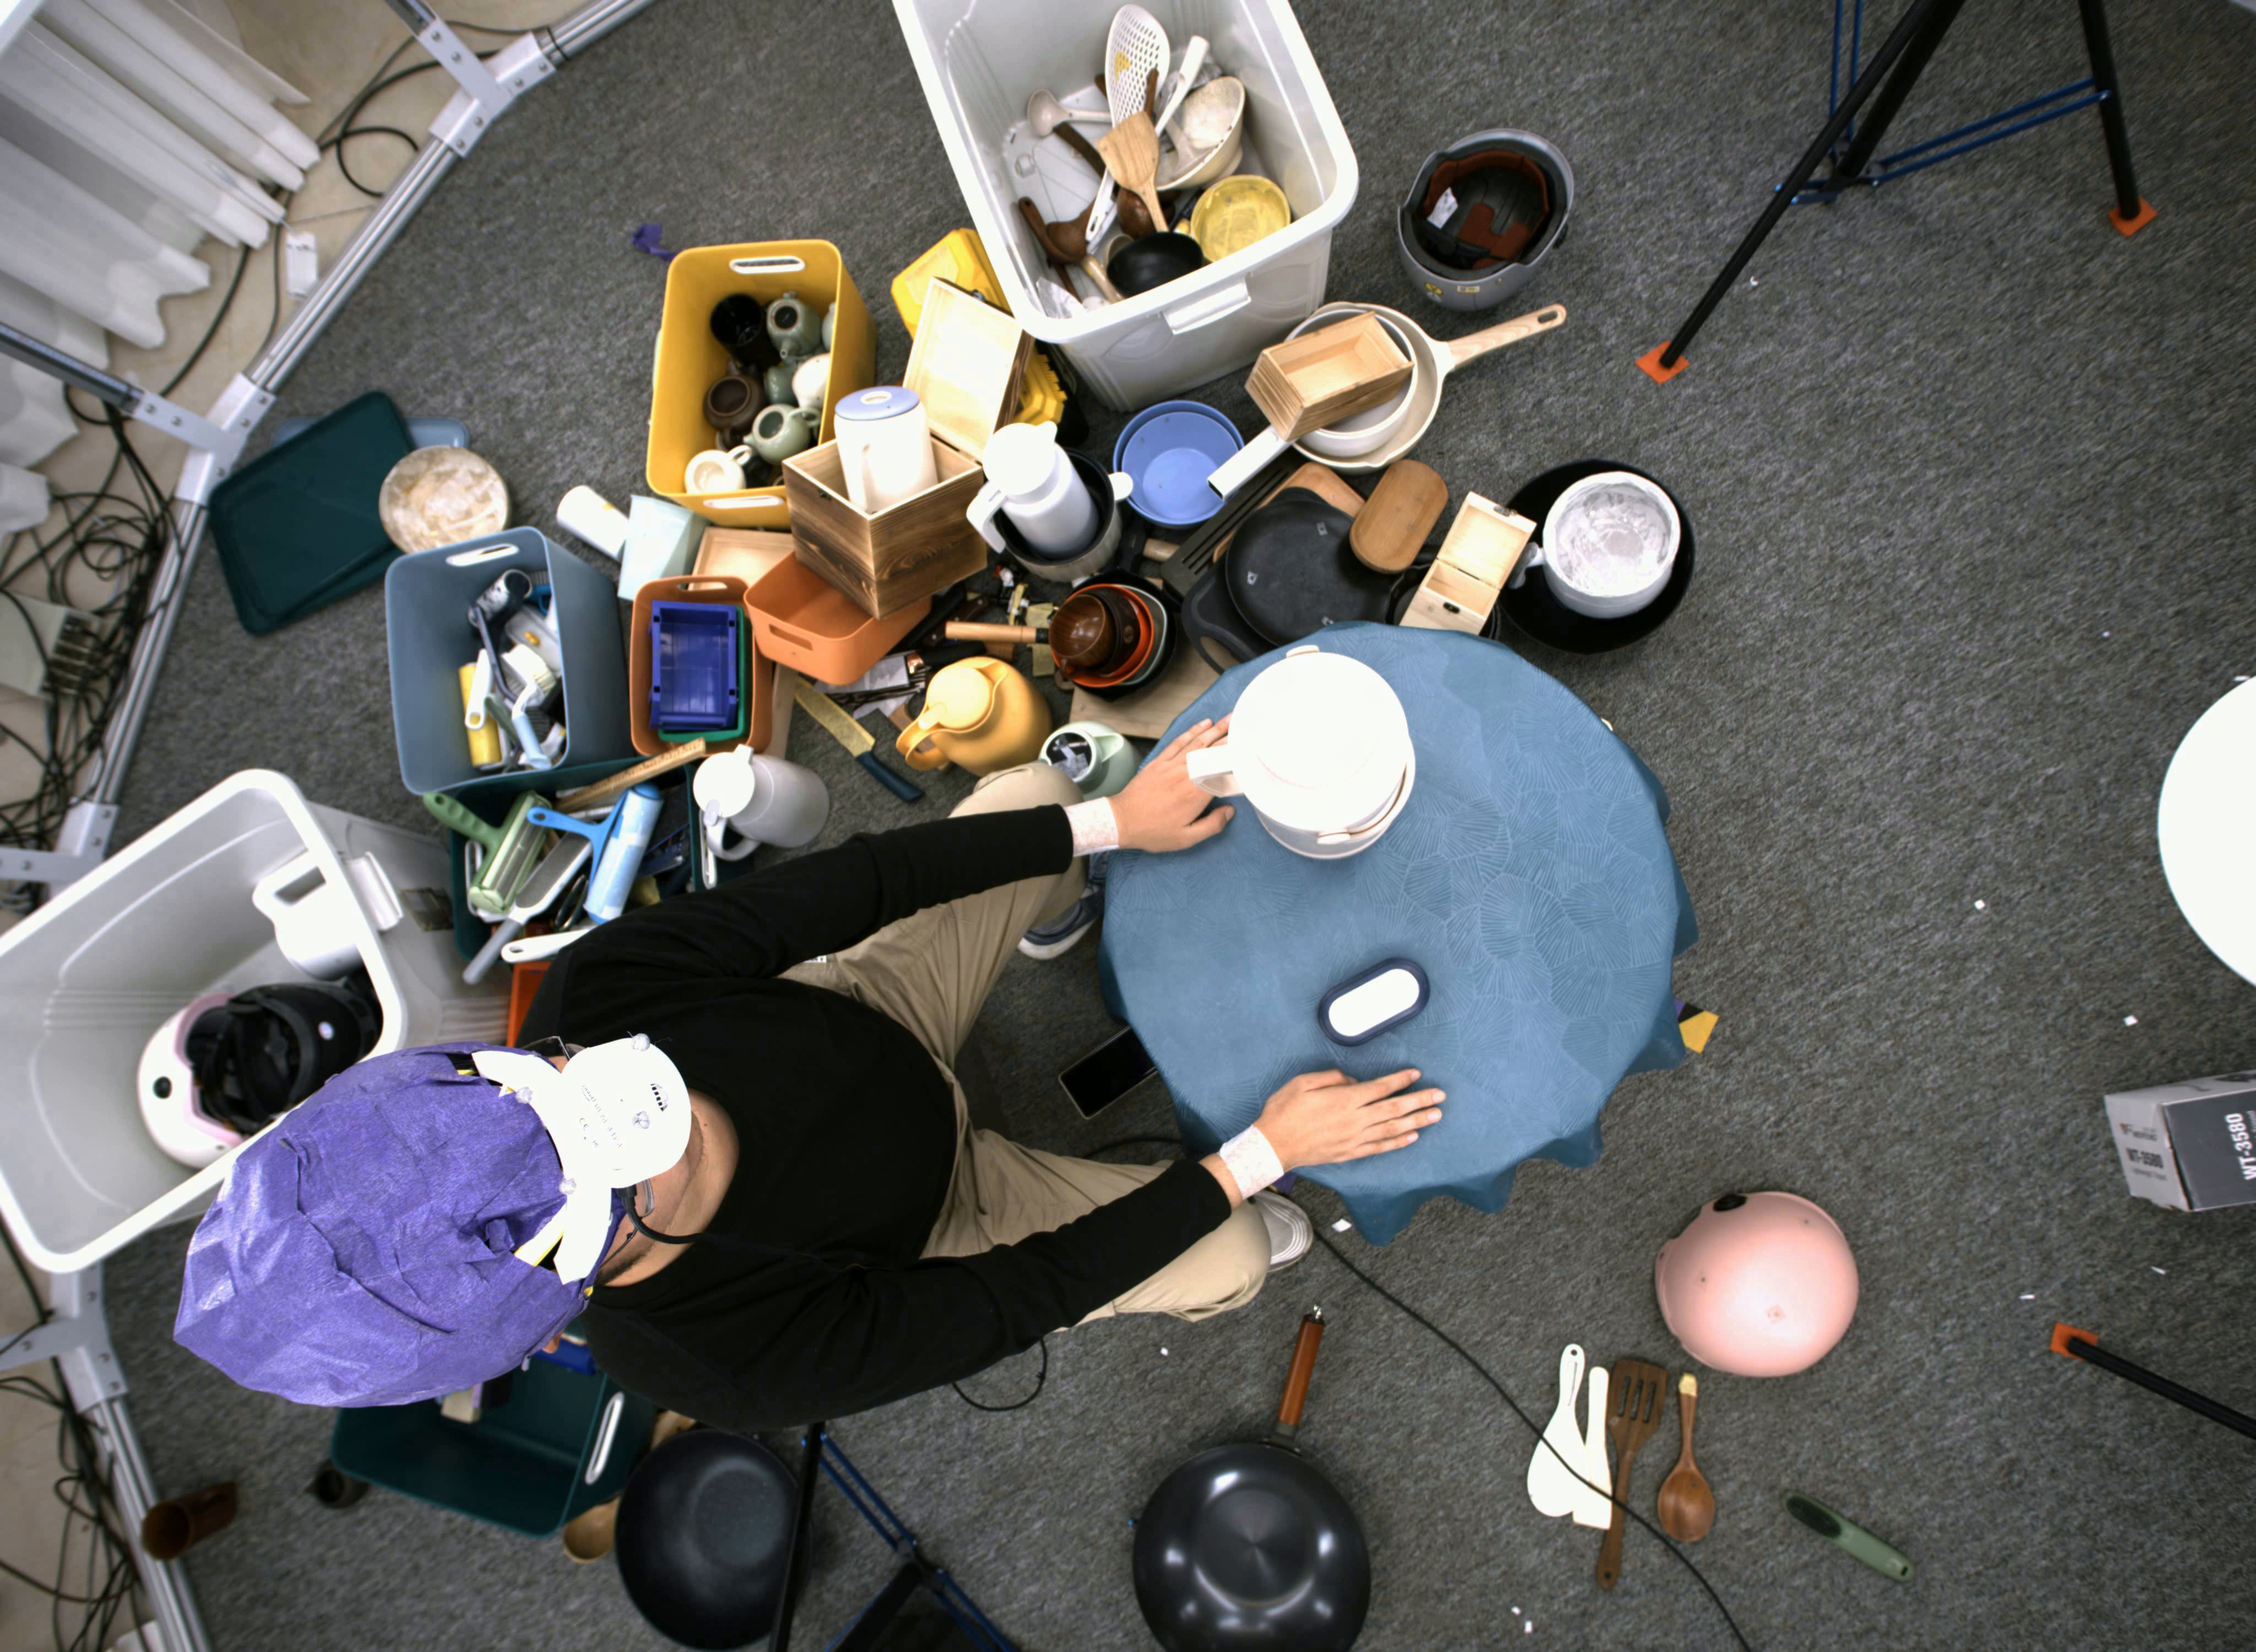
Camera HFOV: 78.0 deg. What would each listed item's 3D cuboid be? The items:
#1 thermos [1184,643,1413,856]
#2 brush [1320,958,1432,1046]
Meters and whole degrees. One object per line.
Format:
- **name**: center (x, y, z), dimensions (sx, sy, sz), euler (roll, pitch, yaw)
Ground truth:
- **thermos**: center (0.164, -0.065, 1.286), dimensions (0.208, 0.406, 0.174), euler (-10, 84, 8)
- **brush**: center (0.256, 0.180, 1.429), dimensions (0.122, 0.061, 0.067), euler (-26, 78, 6)
